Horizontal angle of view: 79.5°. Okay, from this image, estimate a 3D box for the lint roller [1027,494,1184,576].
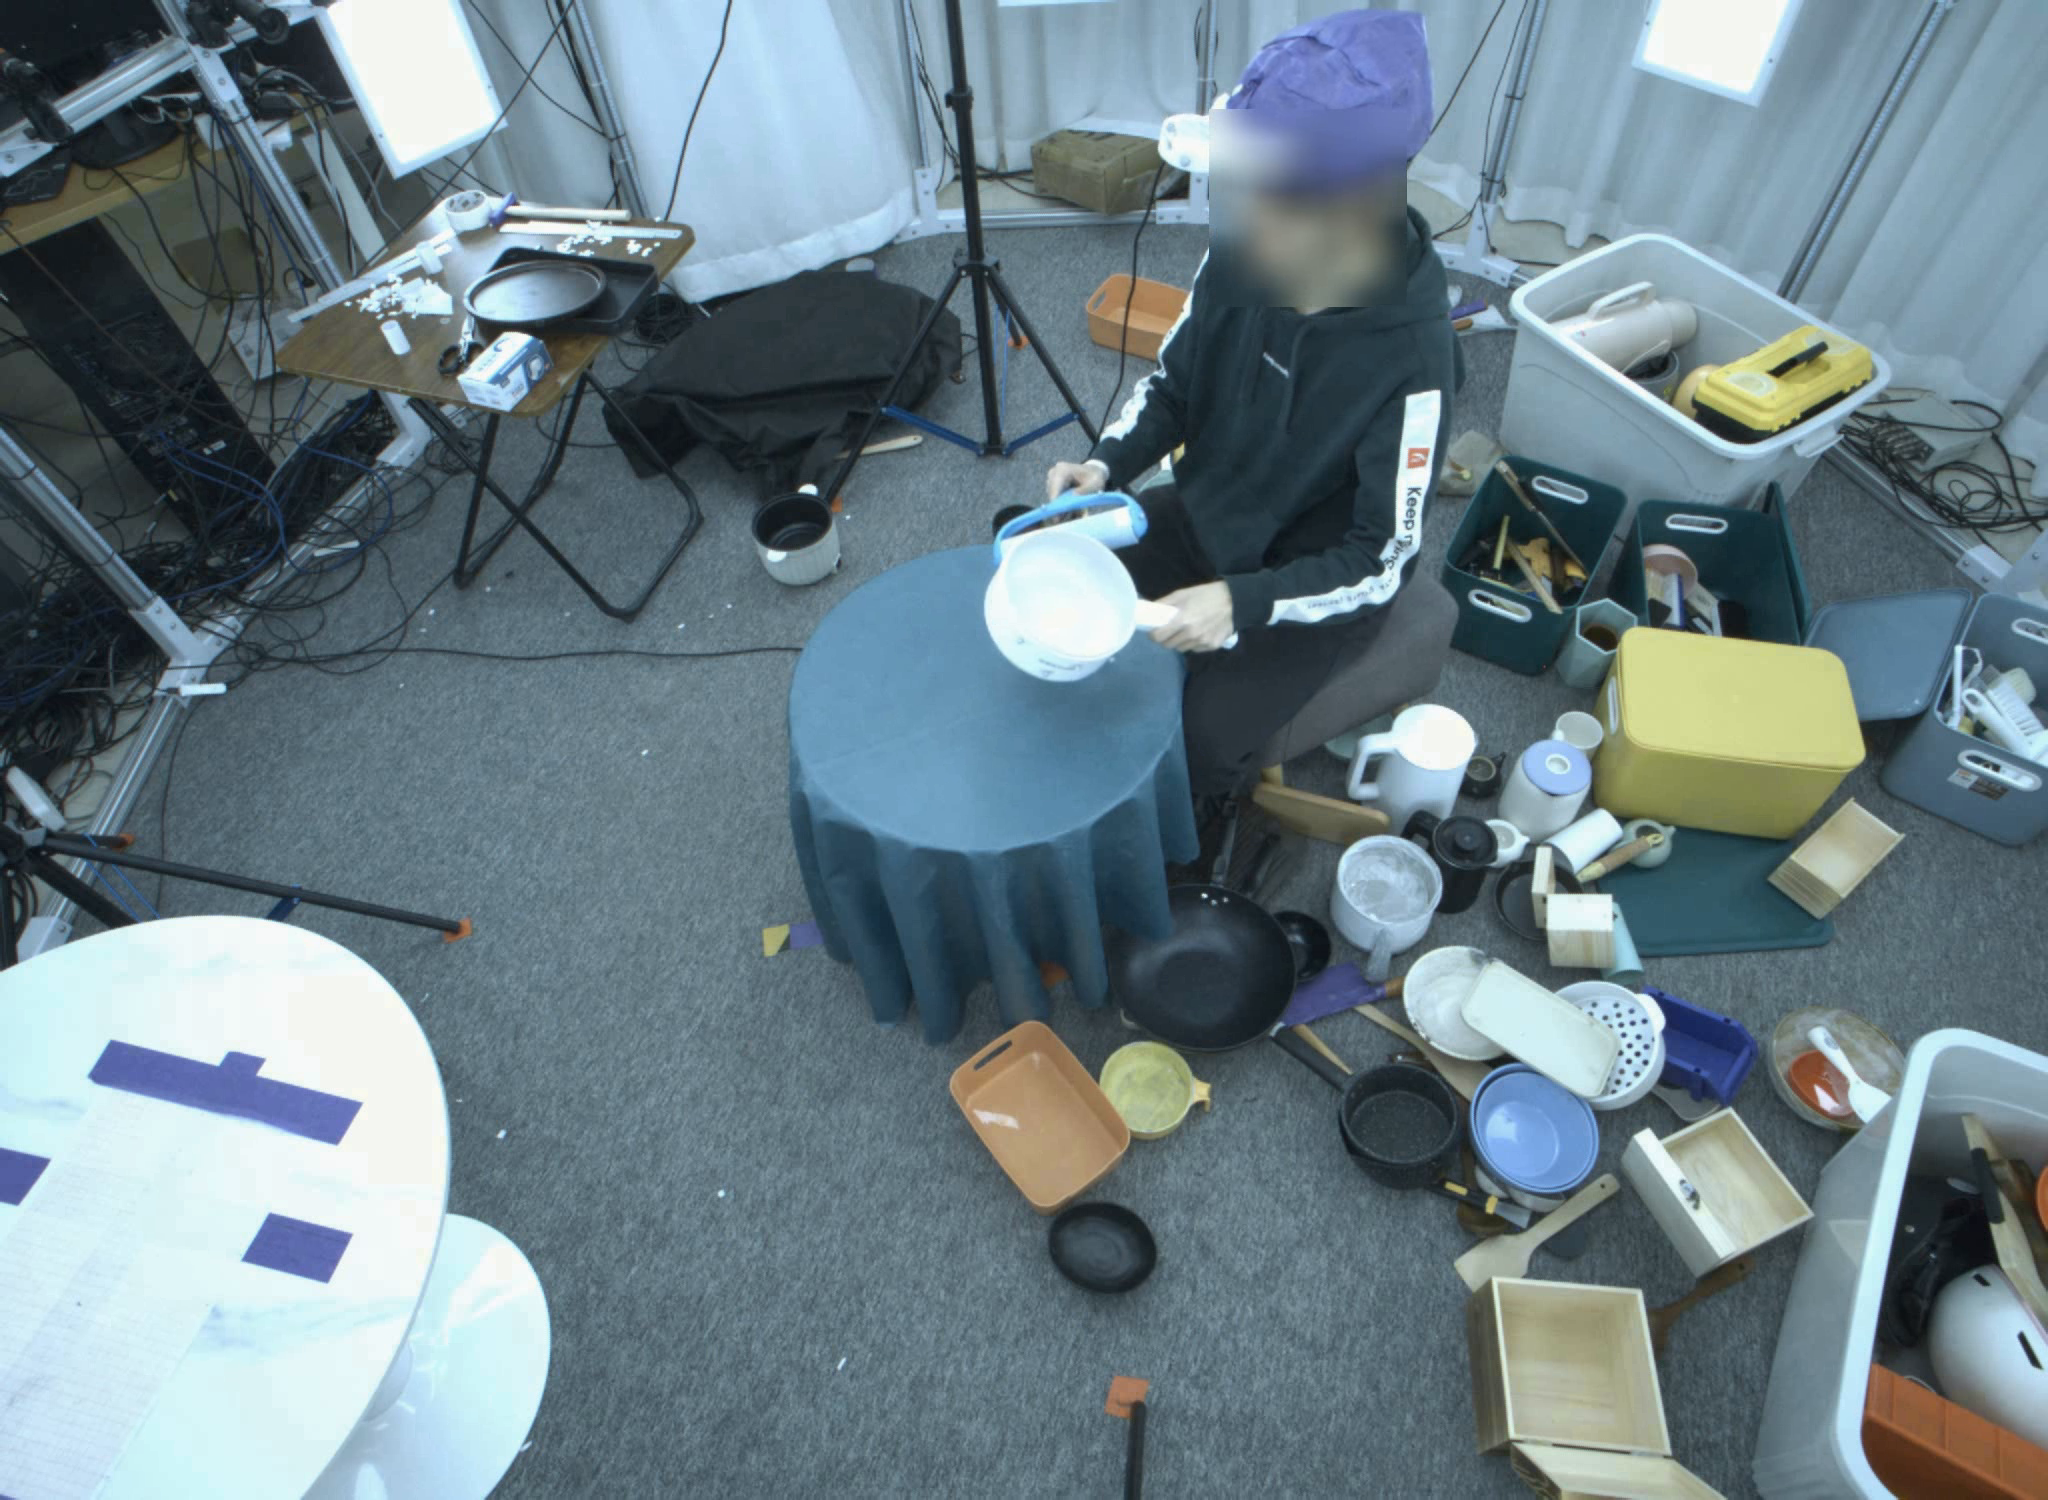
[{"bbox_3d":[0.114,-0.331,1.777,0.227,0.069,0.178,-14,45,14],"label":"lint roller"}]

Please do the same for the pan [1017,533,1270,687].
[{"bbox_3d":[0.161,-0.169,1.691,0.360,0.101,0.199,12,64,-20],"label":"pan"}]
